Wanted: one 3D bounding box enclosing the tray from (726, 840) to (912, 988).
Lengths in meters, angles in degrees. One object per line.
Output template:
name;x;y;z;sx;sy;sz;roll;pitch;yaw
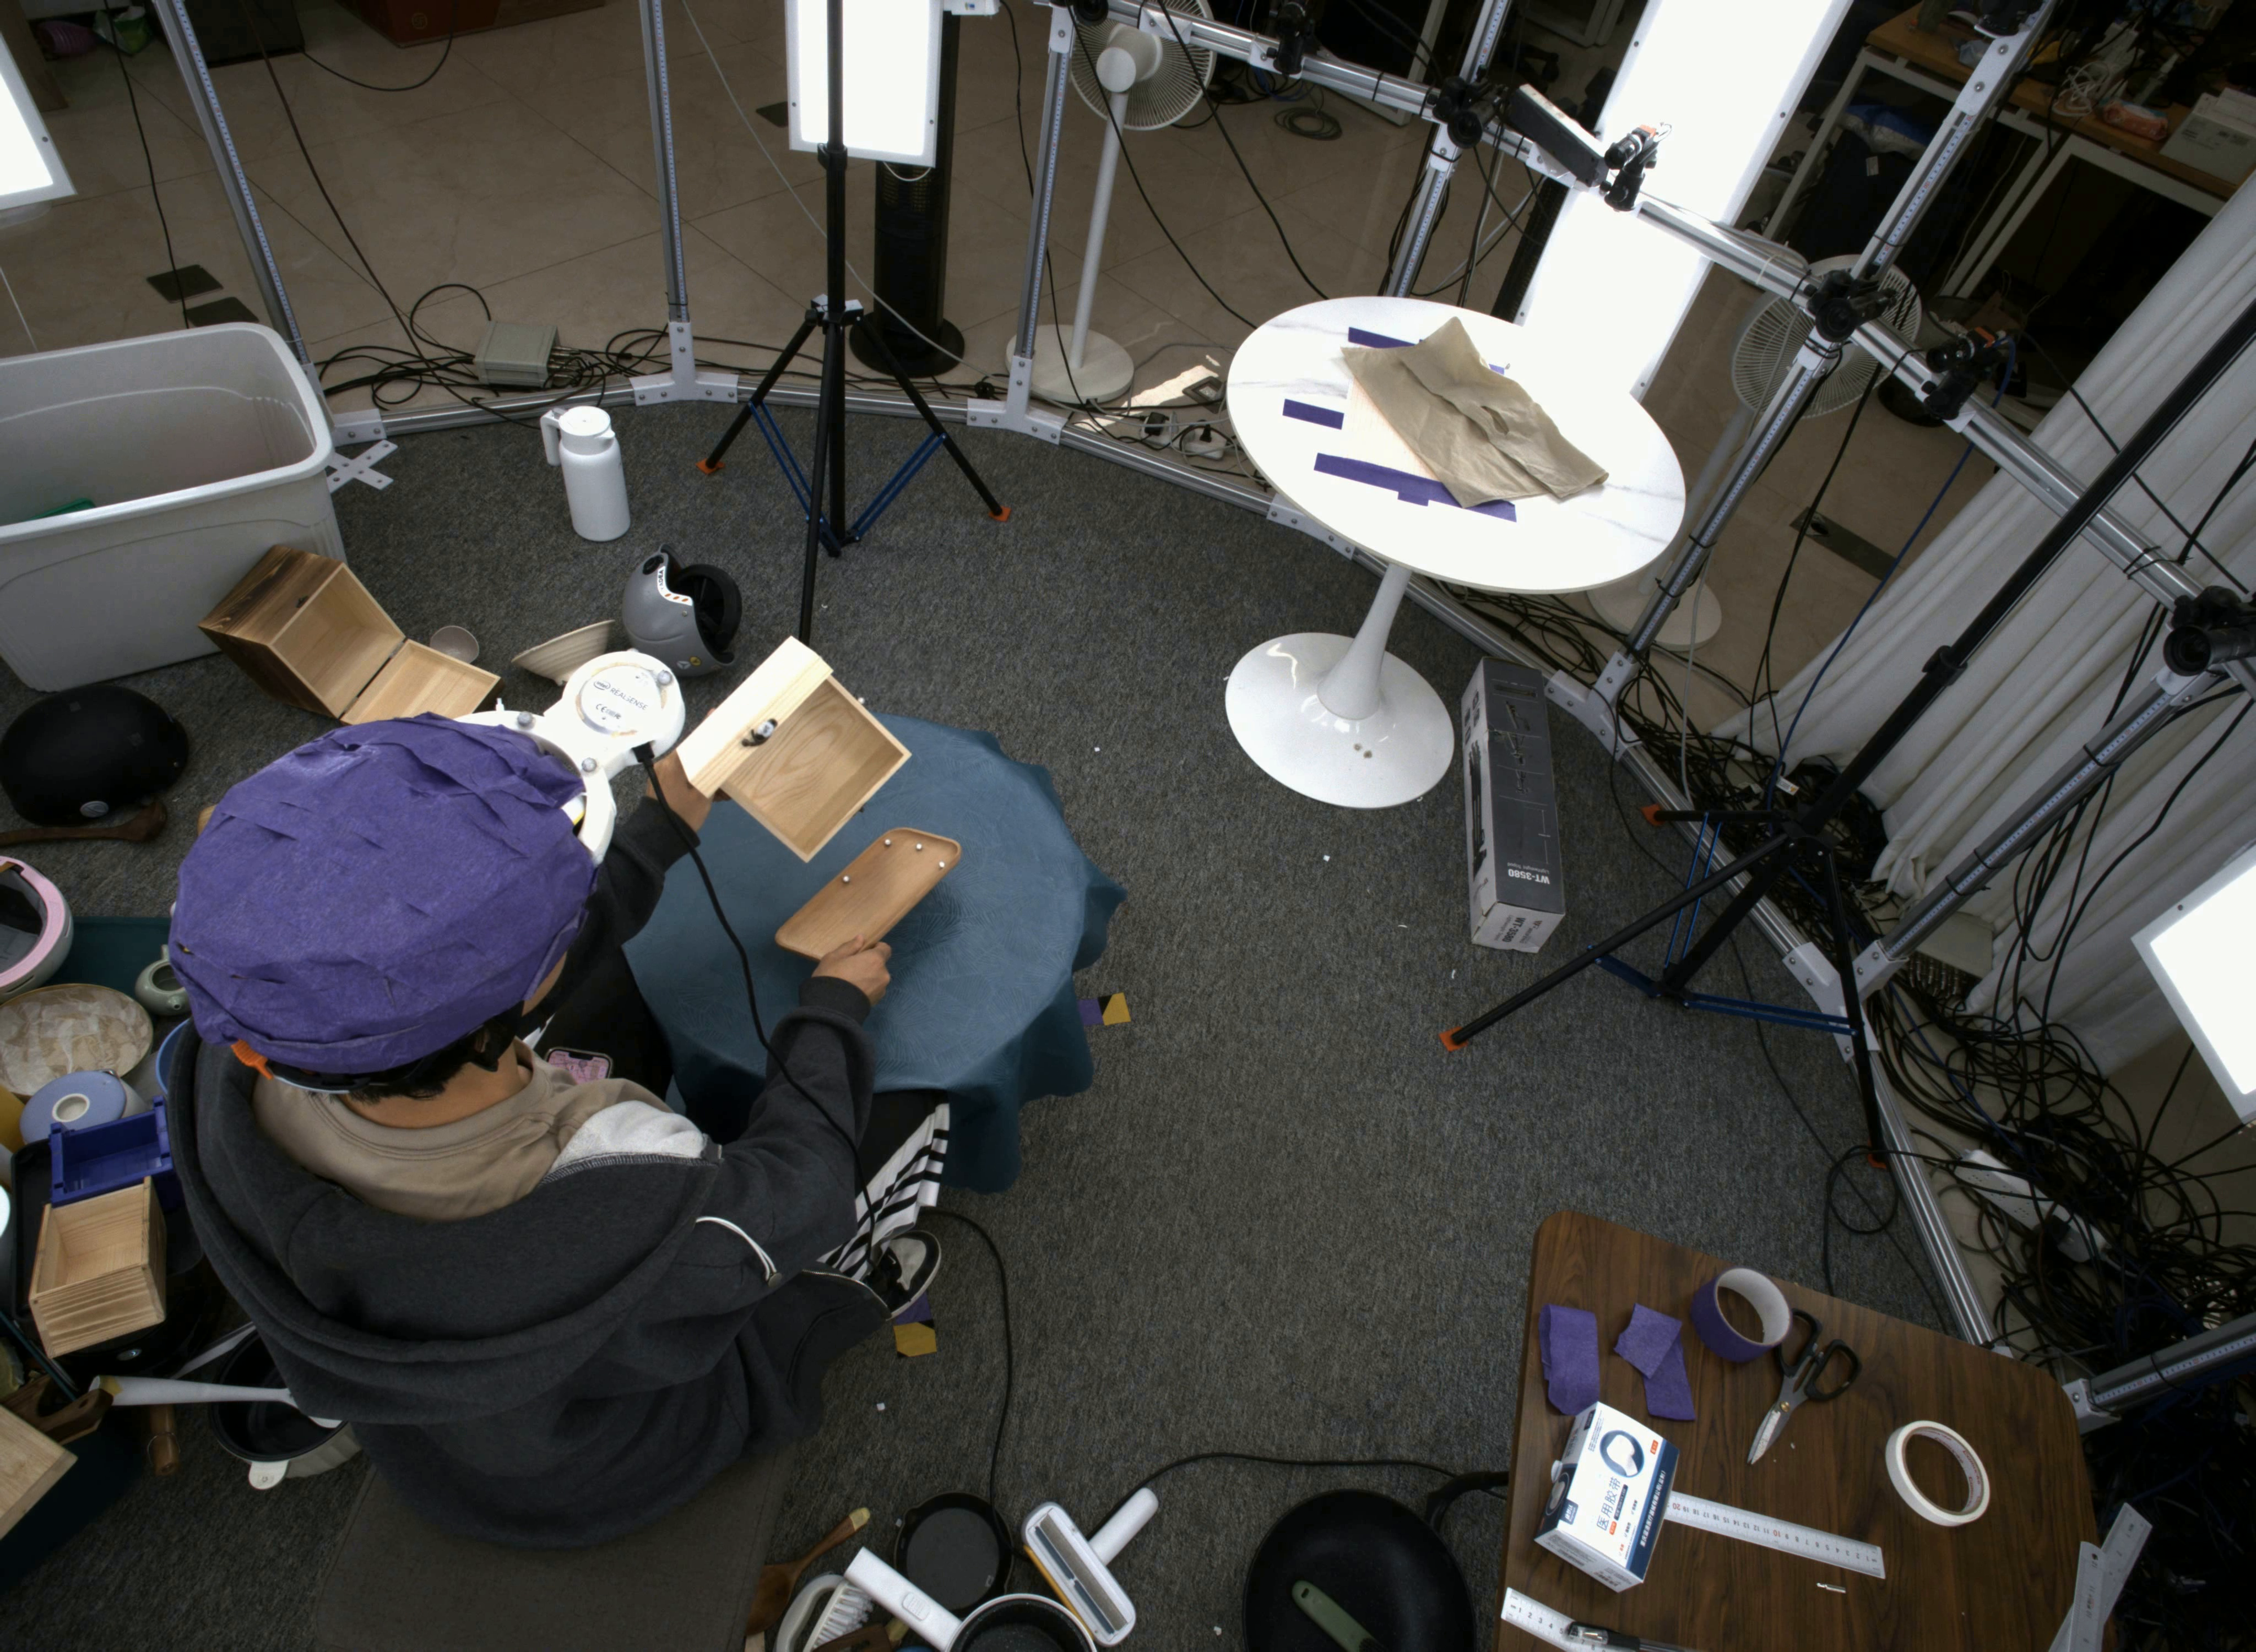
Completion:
tray;-0.372;0.102;1.583;0.126;0.024;0.249;10;42;28

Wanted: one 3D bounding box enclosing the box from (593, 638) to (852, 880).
box;-0.434;-0.067;1.407;0.182;0.274;0.244;-49;33;-5
